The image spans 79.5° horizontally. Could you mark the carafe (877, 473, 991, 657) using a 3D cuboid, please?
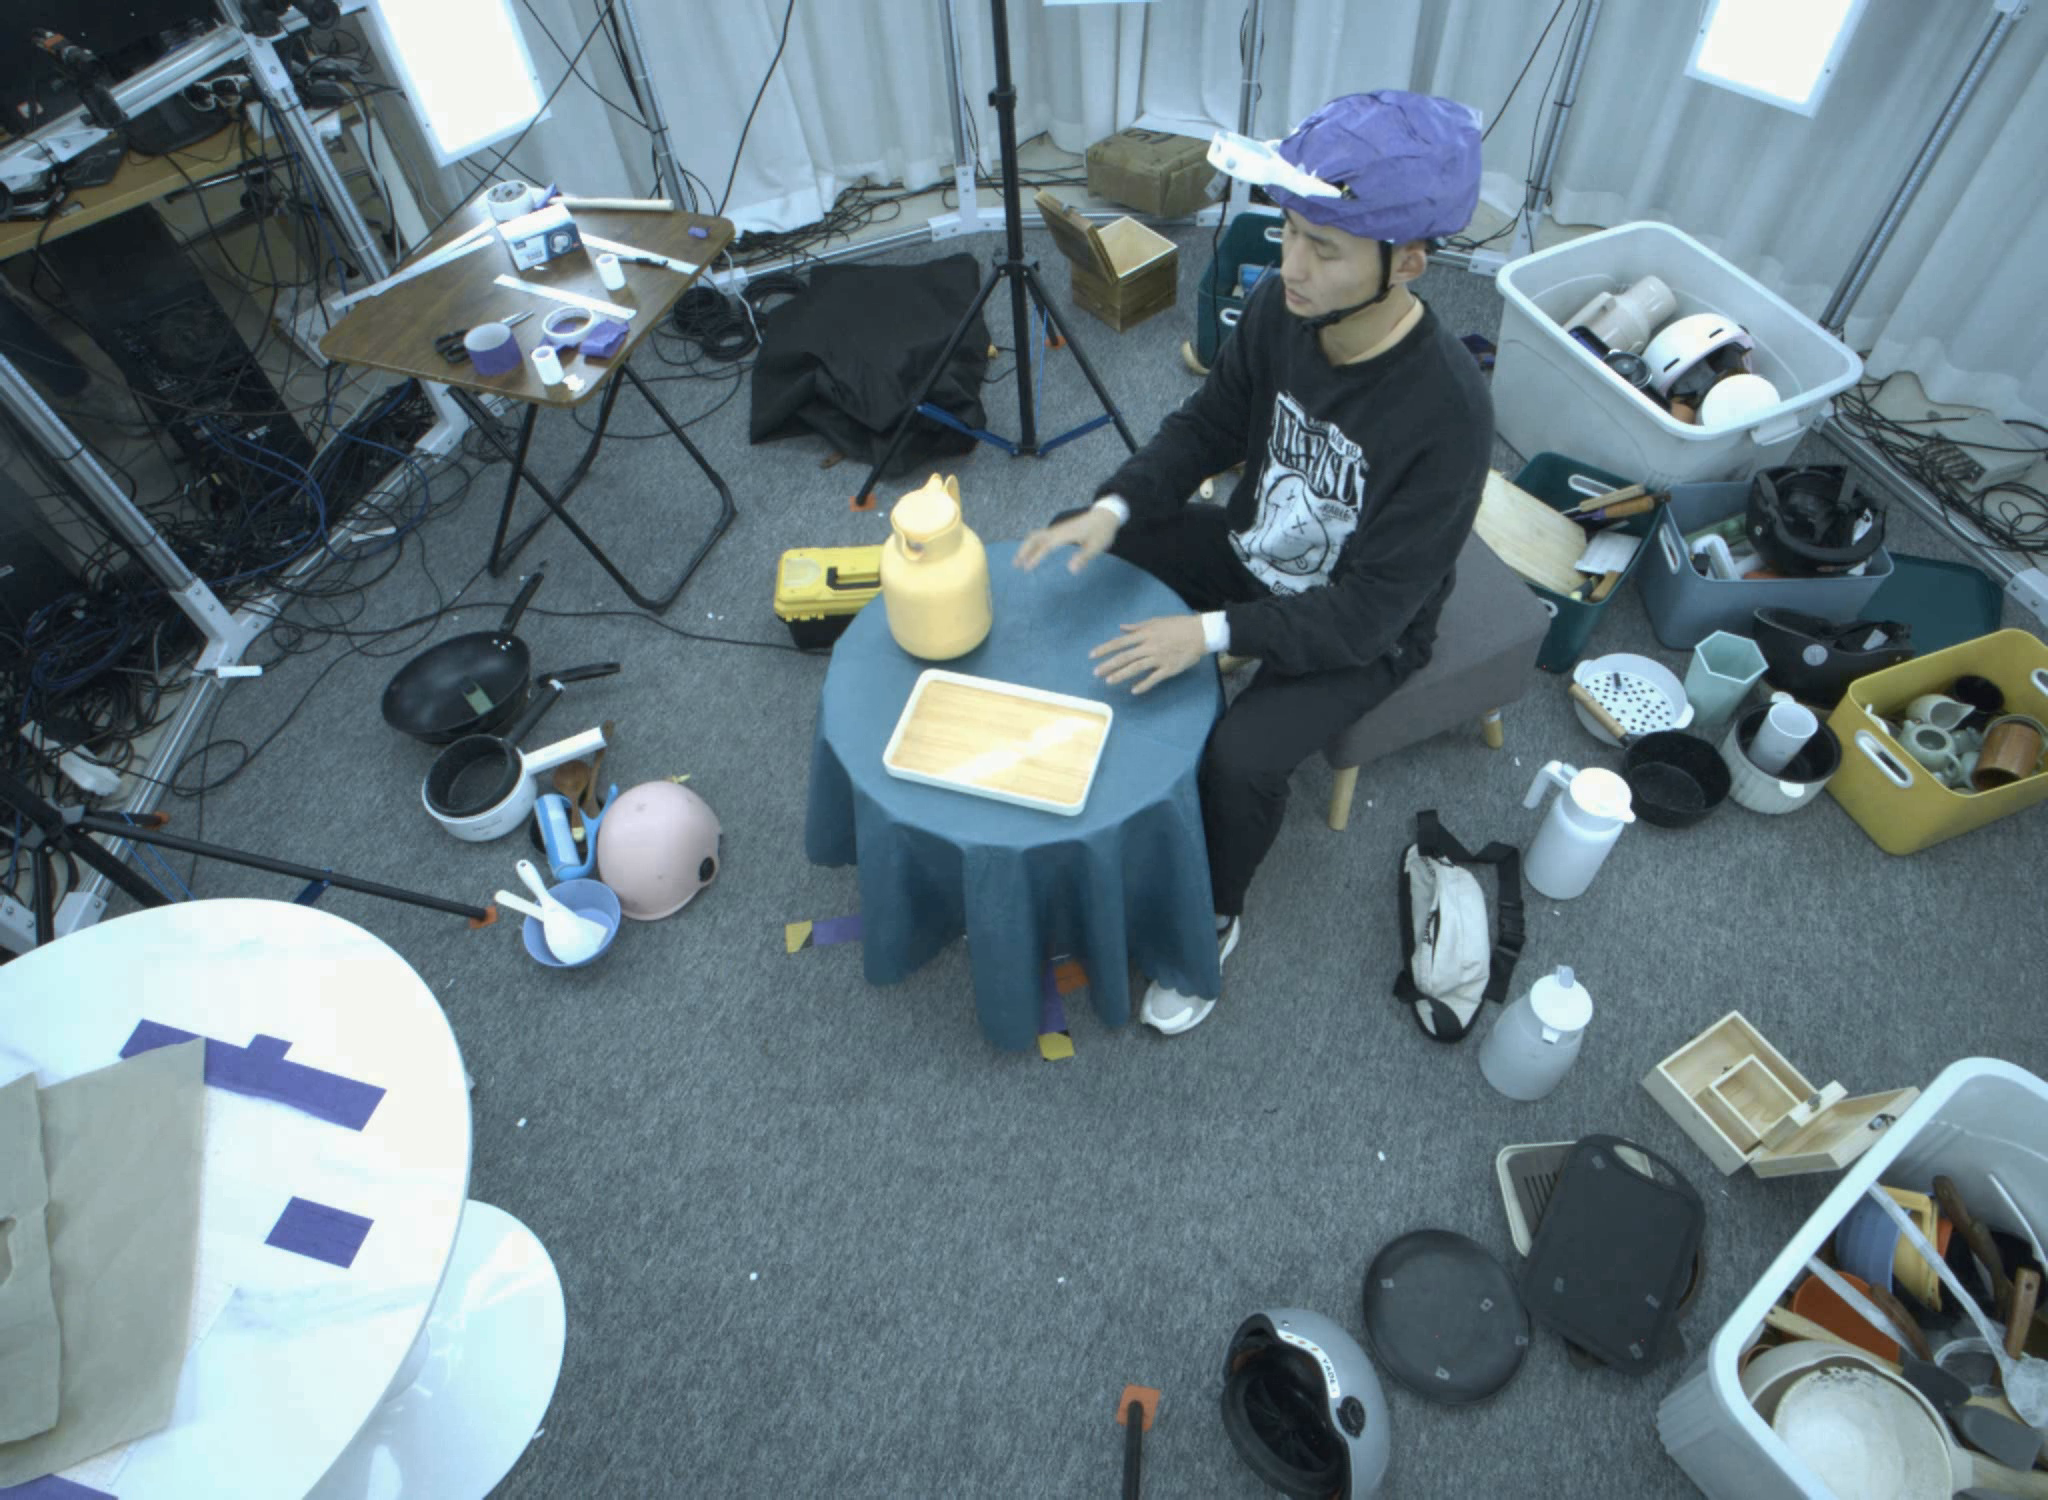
[{"bbox_3d":[-0.131,-0.283,1.827,0.162,0.263,0.201,13,58,9],"label":"carafe"}]

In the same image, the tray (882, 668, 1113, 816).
[{"bbox_3d":[-0.037,-0.015,1.779,0.298,0.028,0.191,13,56,10],"label":"tray"}]
